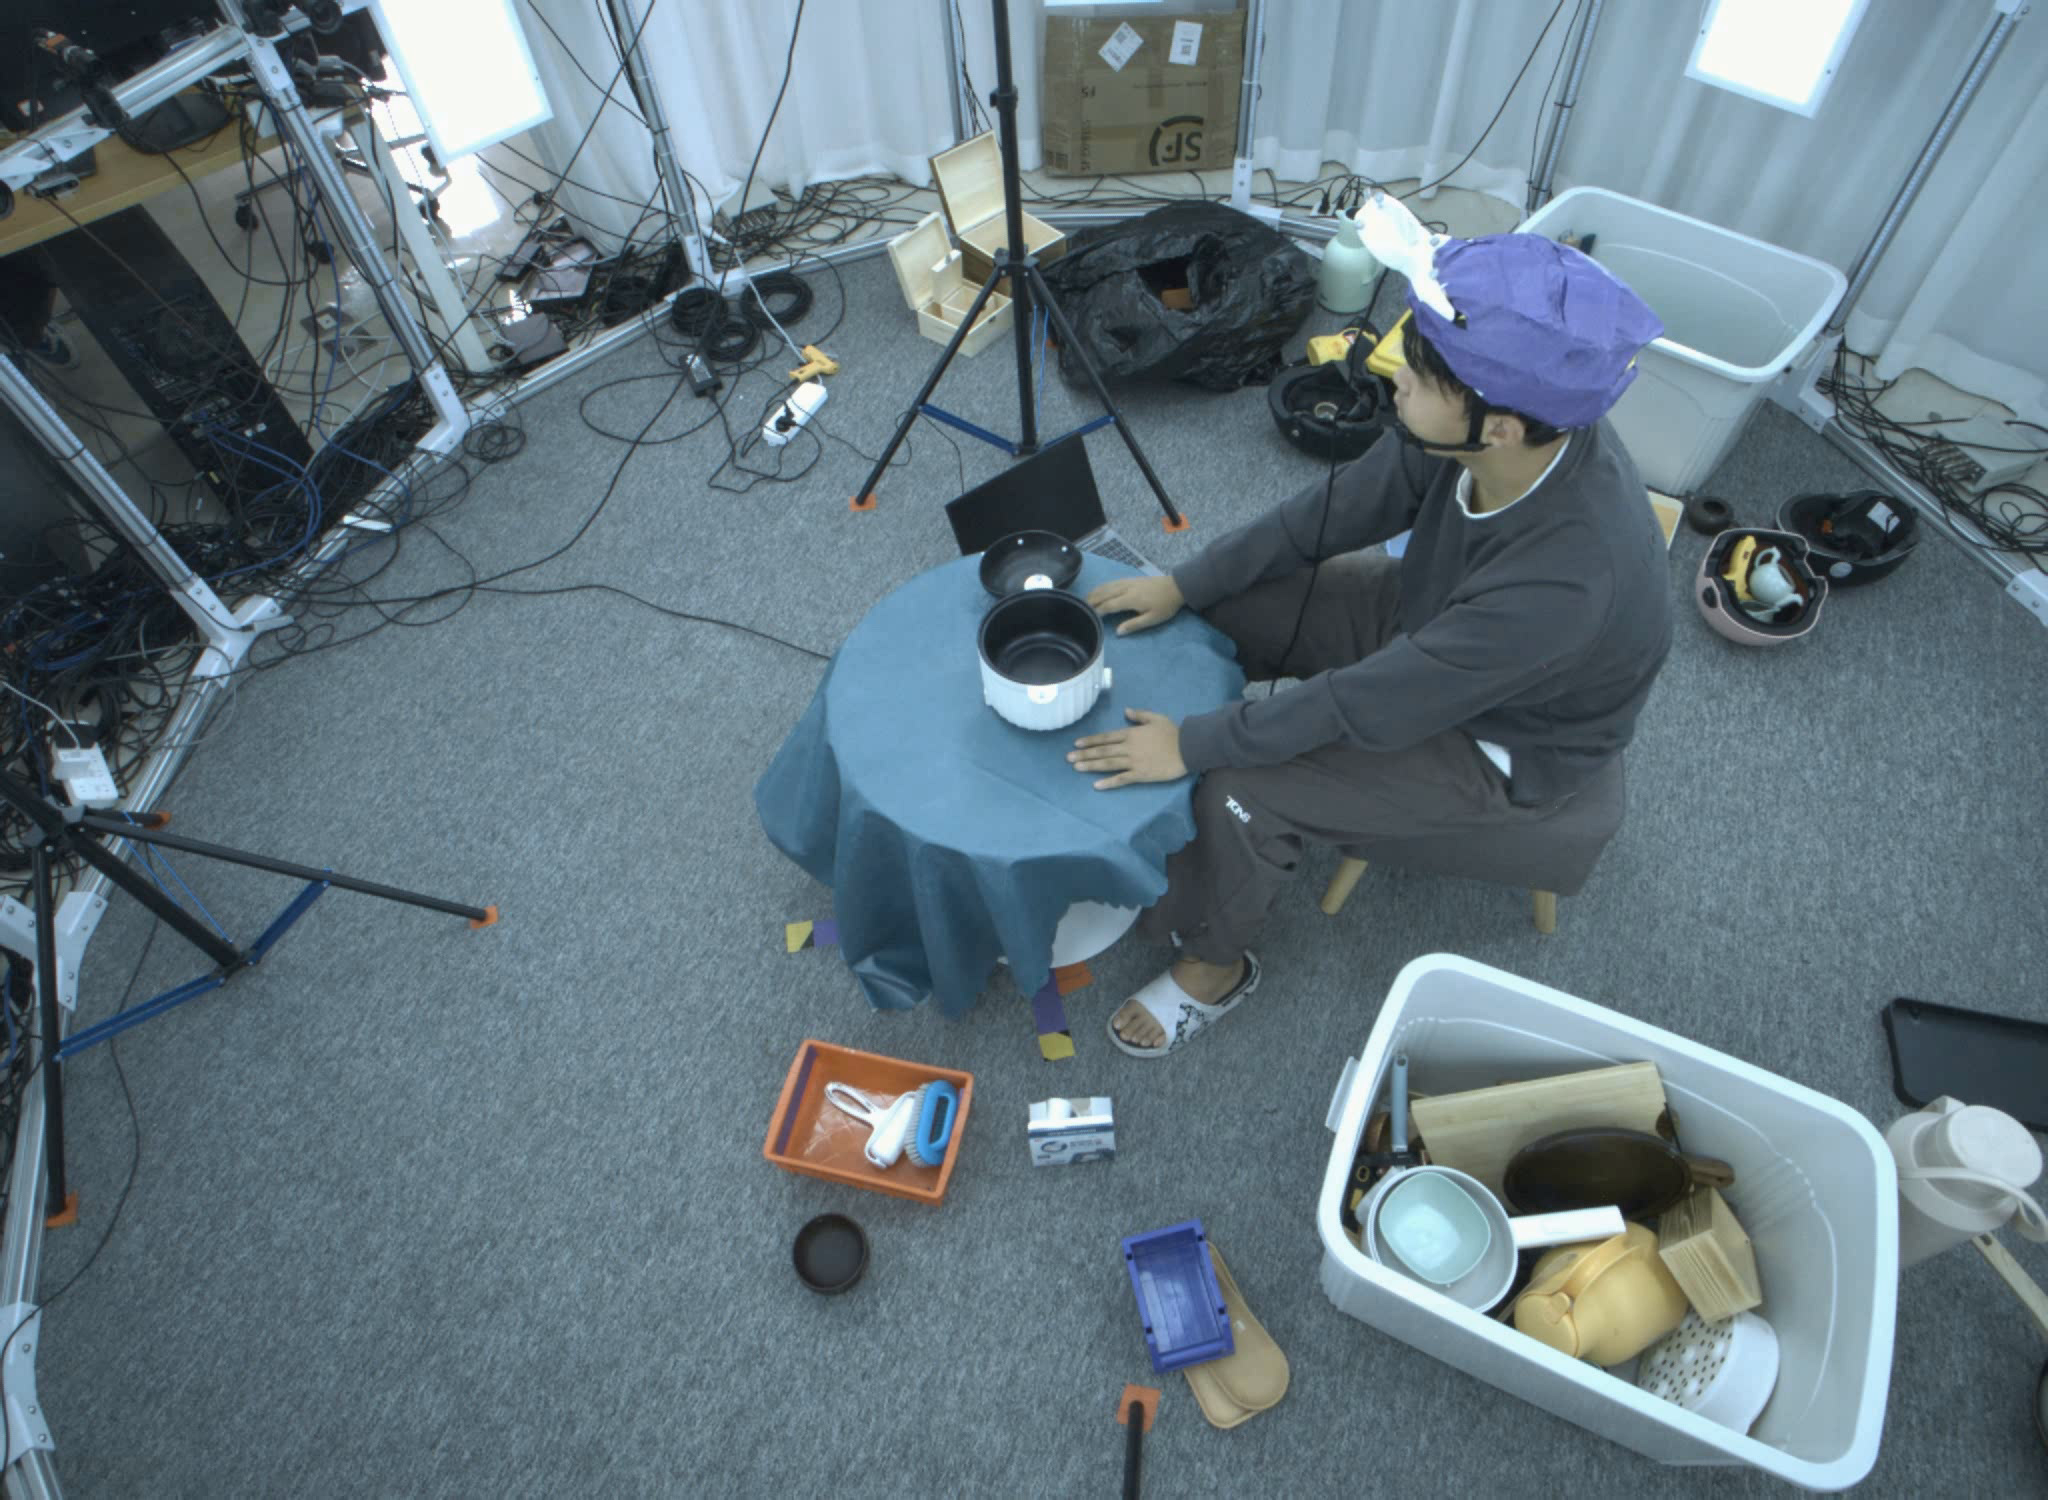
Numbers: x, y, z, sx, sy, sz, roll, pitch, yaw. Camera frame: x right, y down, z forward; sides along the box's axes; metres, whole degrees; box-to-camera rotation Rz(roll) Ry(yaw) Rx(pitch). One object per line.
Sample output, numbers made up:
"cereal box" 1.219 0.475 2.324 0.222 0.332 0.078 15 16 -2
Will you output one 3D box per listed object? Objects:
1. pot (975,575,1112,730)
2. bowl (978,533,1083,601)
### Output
"pot" 0.030 -0.127 1.792 0.190 0.144 0.237 -5 56 2
"bowl" 0.009 -0.277 1.944 0.172 0.067 0.135 -21 57 -14
